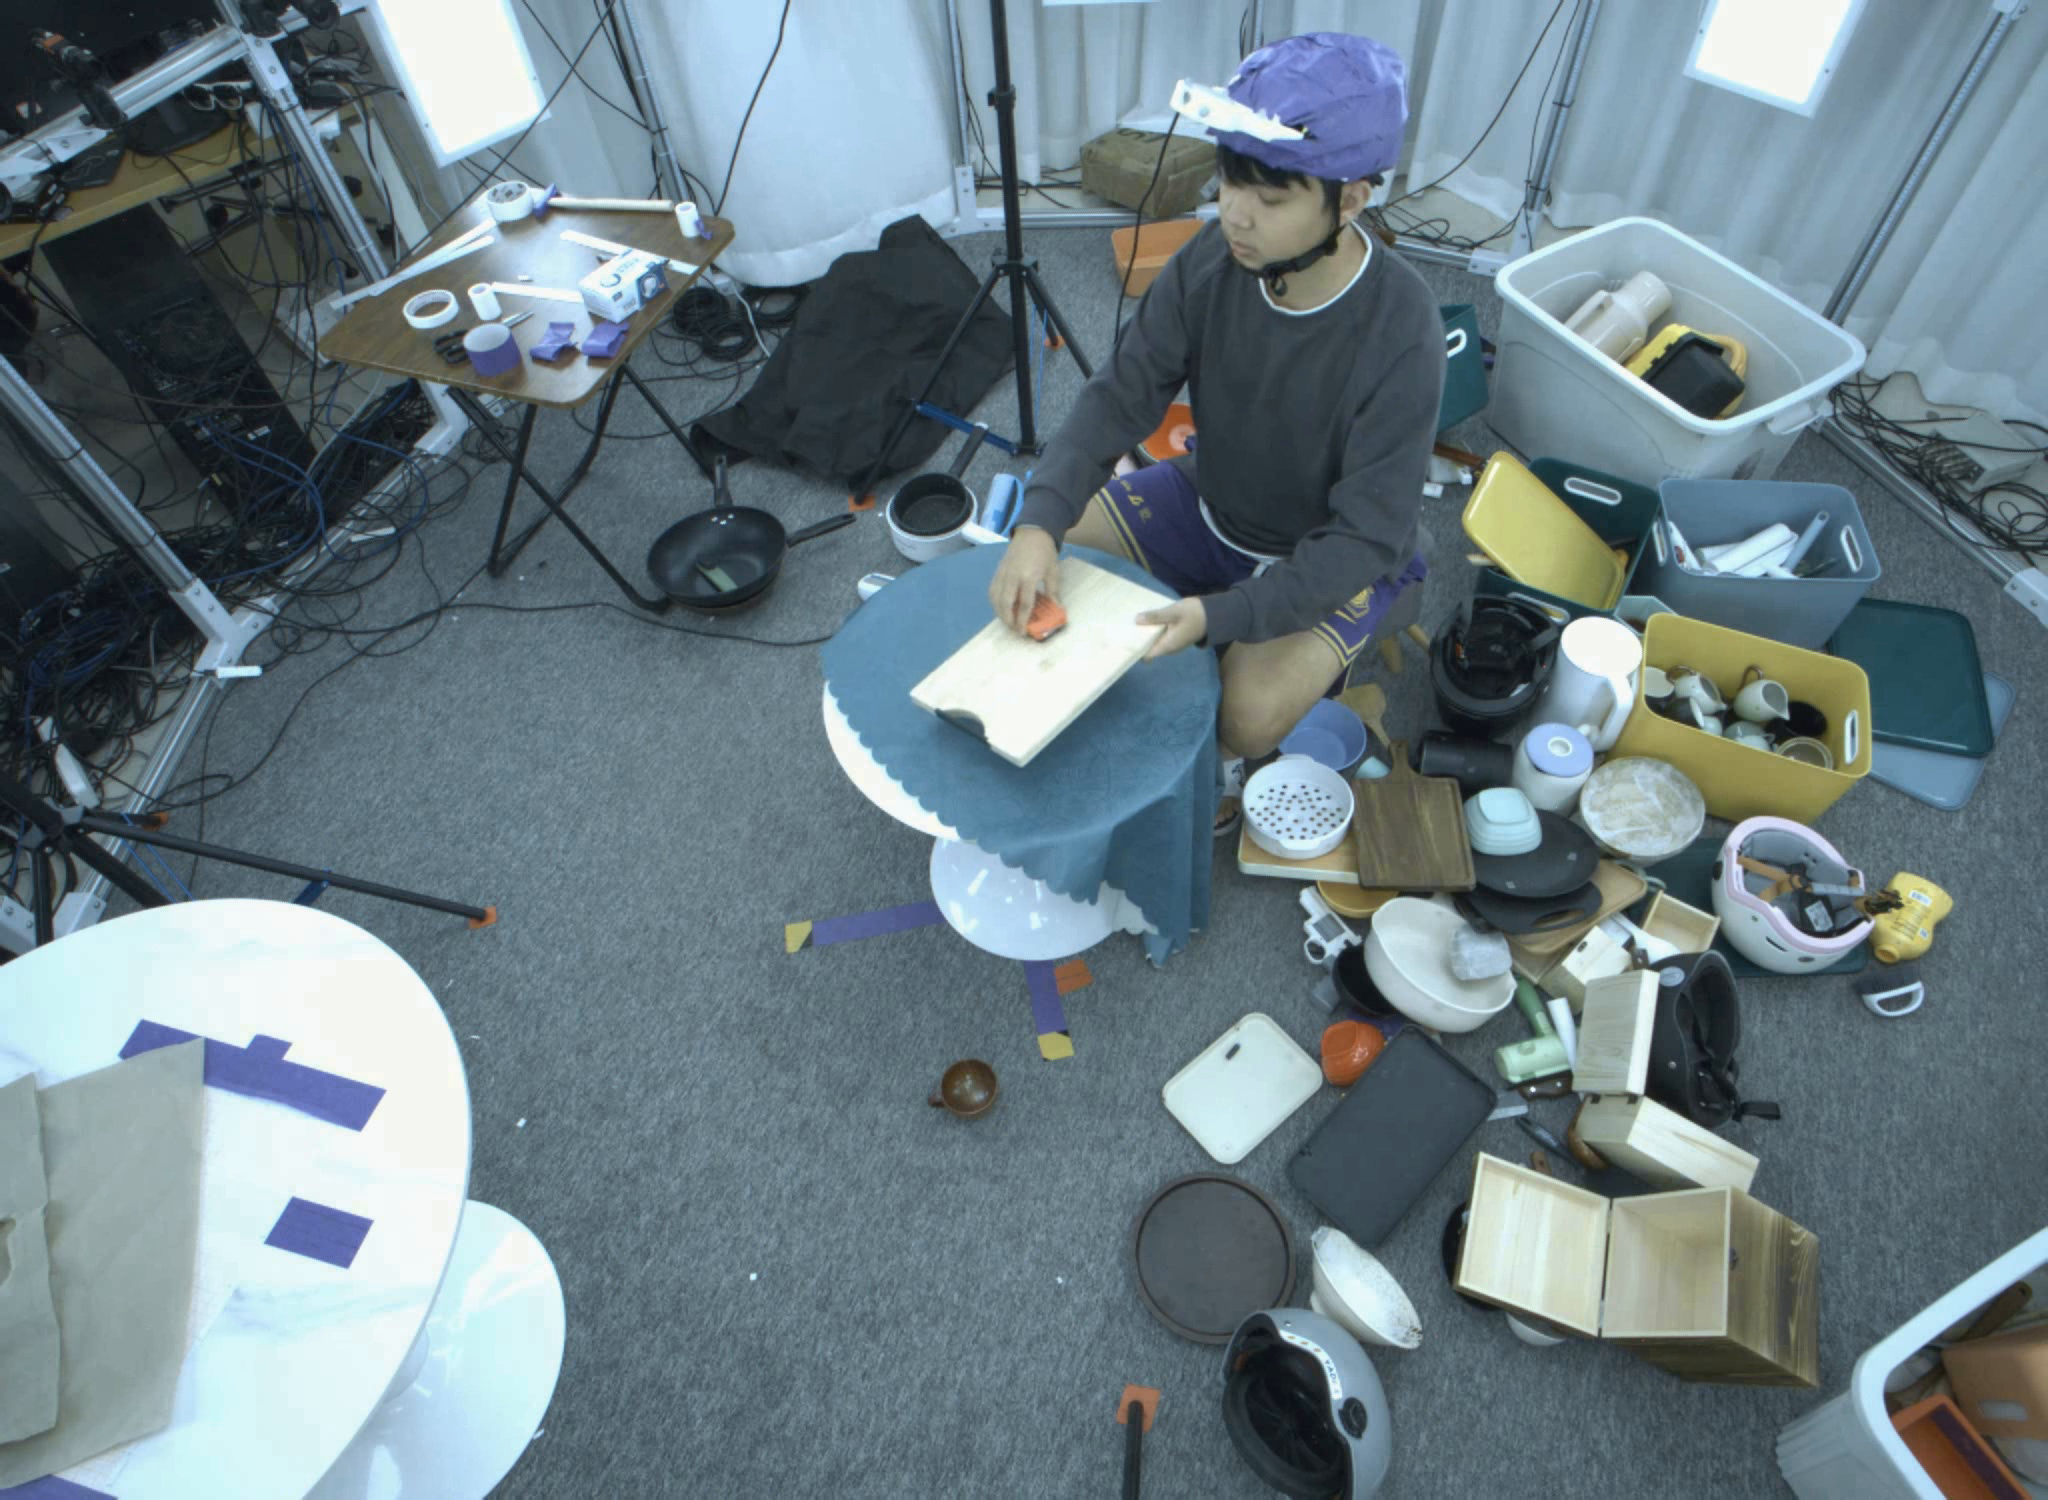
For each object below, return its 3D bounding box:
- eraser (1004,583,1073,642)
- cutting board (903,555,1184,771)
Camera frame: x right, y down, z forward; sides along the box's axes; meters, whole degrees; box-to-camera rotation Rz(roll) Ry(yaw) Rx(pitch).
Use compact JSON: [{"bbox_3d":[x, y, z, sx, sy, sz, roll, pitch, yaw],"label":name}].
[{"bbox_3d":[0.020,-0.201,1.790,0.059,0.023,0.105,-36,48,-13],"label":"eraser"},{"bbox_3d":[0.028,-0.134,1.756,0.245,0.024,0.350,30,64,38],"label":"cutting board"}]
